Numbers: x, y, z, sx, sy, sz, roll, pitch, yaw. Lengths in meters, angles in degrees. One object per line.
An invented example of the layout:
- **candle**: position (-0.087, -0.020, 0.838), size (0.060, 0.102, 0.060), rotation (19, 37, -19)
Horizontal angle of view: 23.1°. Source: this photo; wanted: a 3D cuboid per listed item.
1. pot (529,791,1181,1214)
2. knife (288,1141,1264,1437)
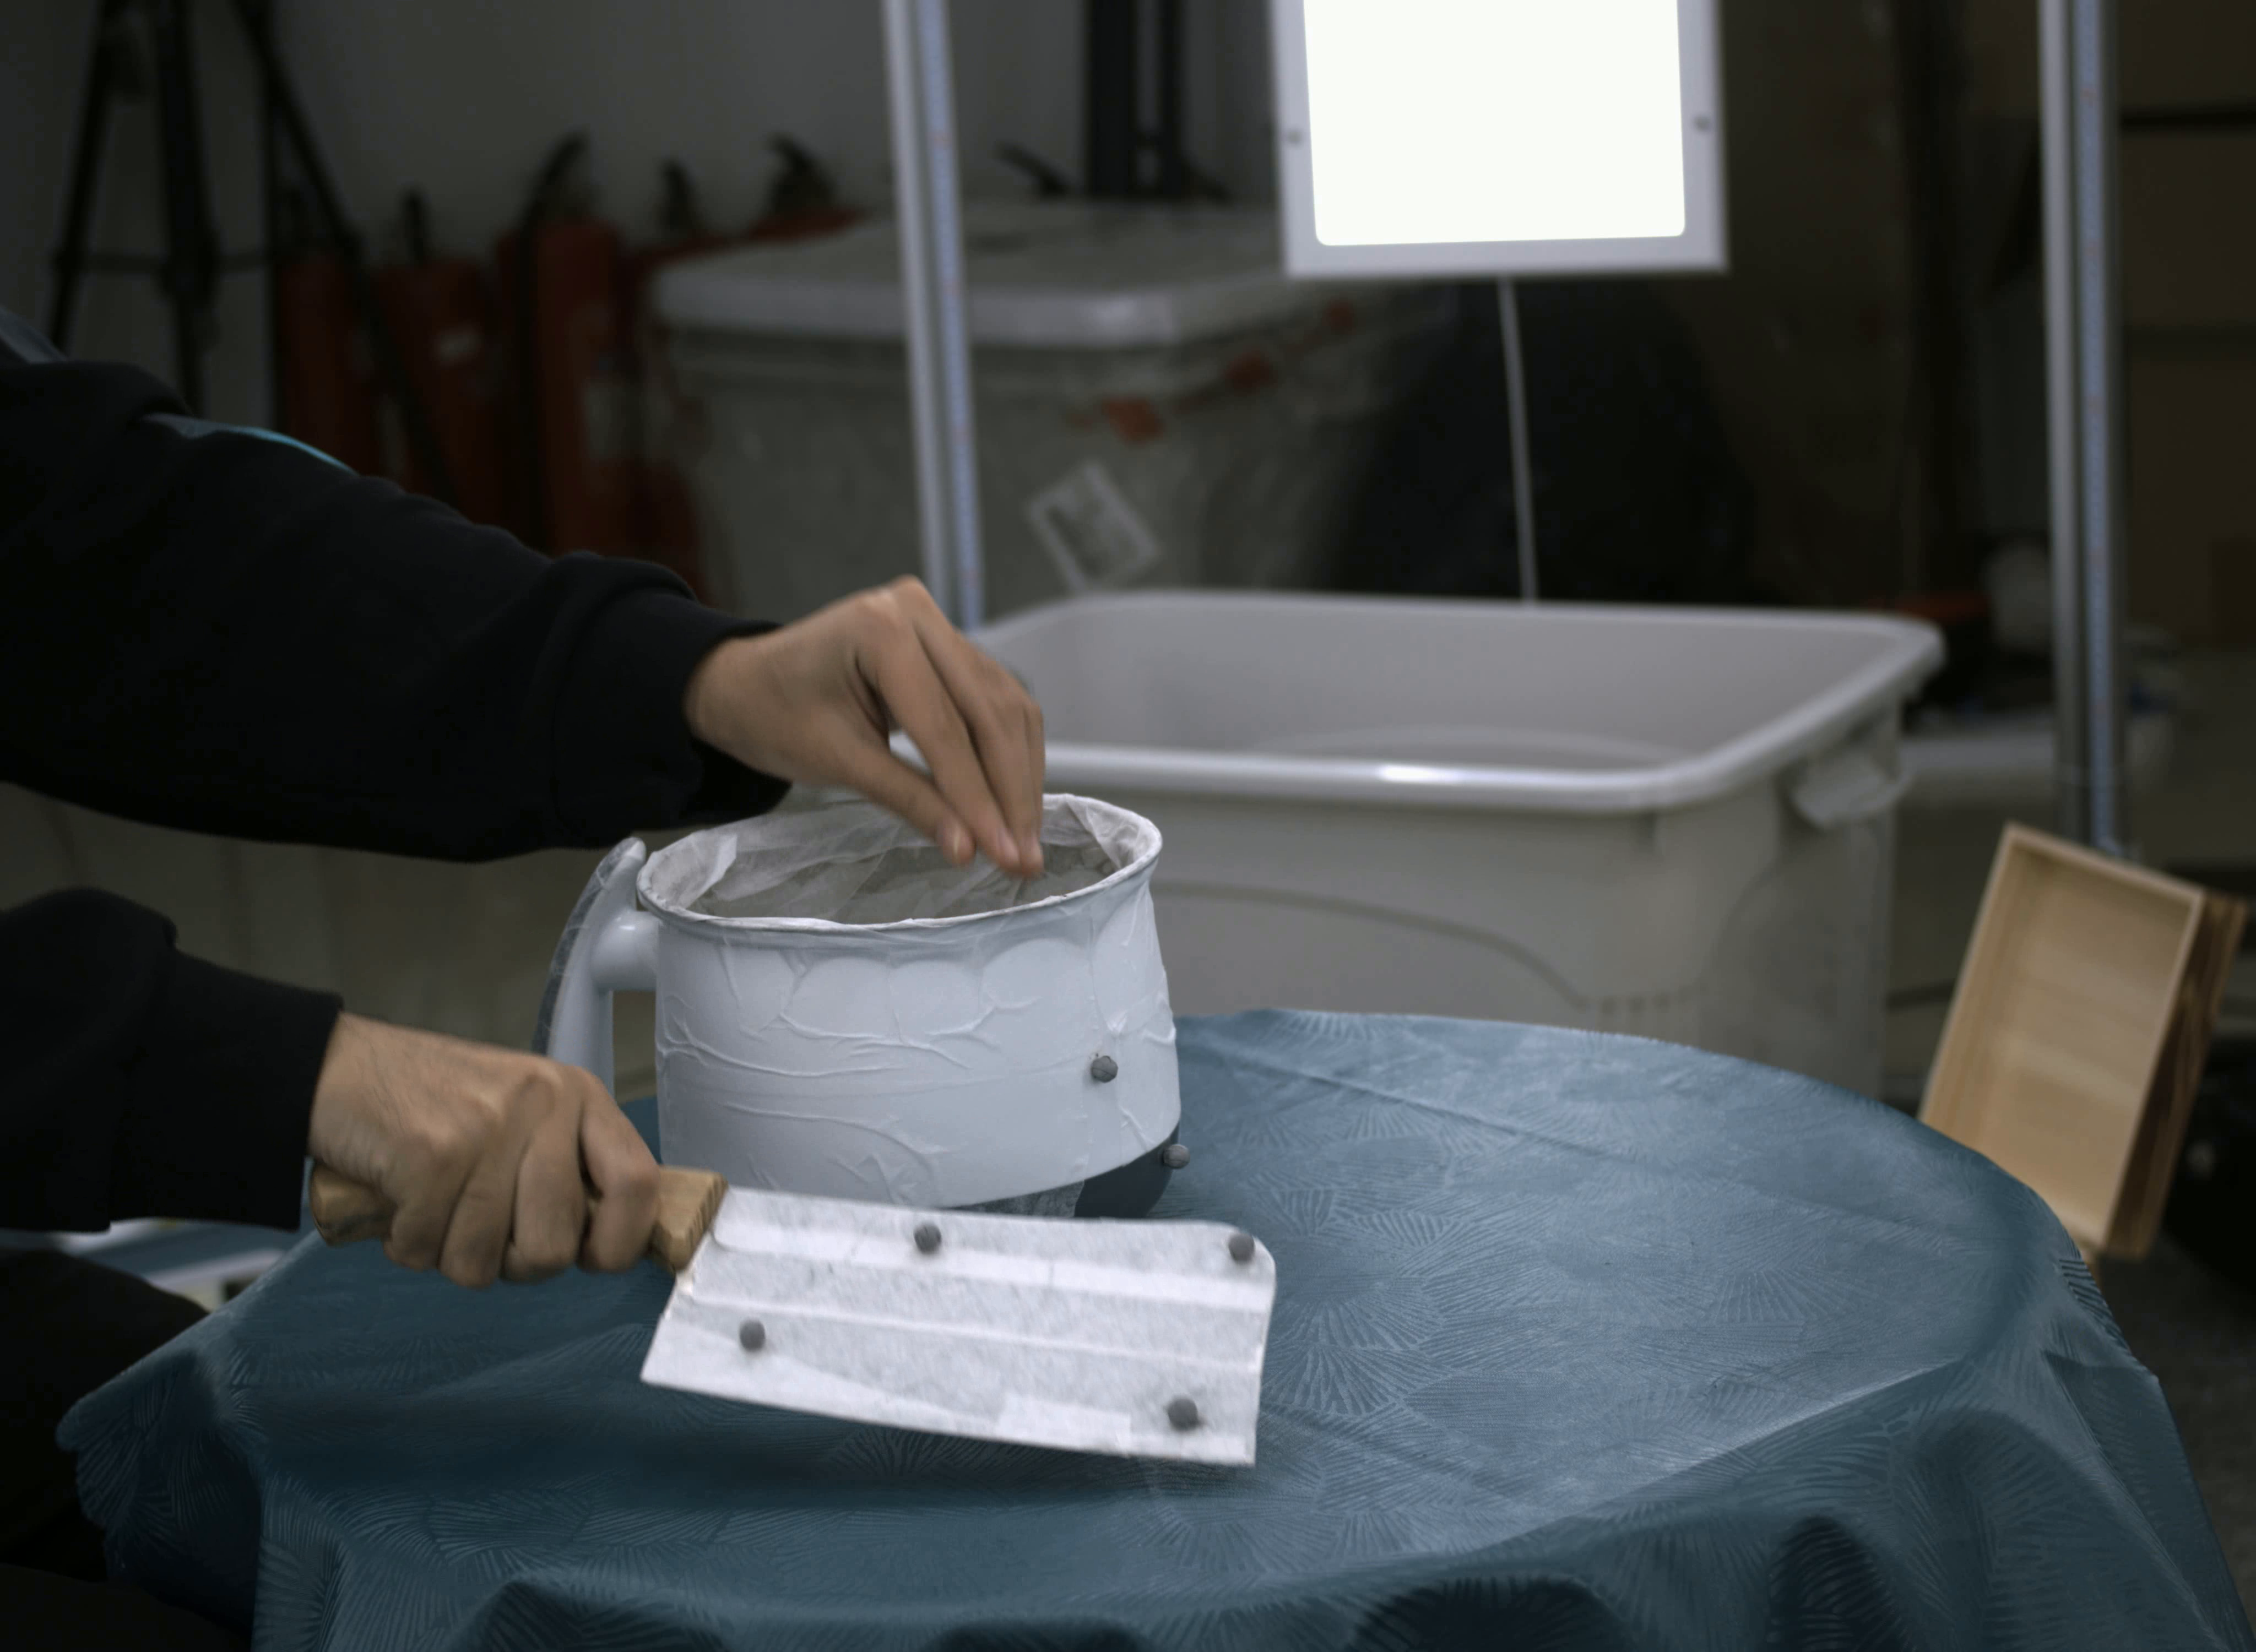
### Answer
- **pot**: position (-0.097, 0.071, 1.870), size (0.237, 0.137, 0.175), rotation (1, 15, 21)
- **knife**: position (-0.106, 0.133, 1.676), size (0.318, 0.022, 0.112), rotation (8, 41, 14)
